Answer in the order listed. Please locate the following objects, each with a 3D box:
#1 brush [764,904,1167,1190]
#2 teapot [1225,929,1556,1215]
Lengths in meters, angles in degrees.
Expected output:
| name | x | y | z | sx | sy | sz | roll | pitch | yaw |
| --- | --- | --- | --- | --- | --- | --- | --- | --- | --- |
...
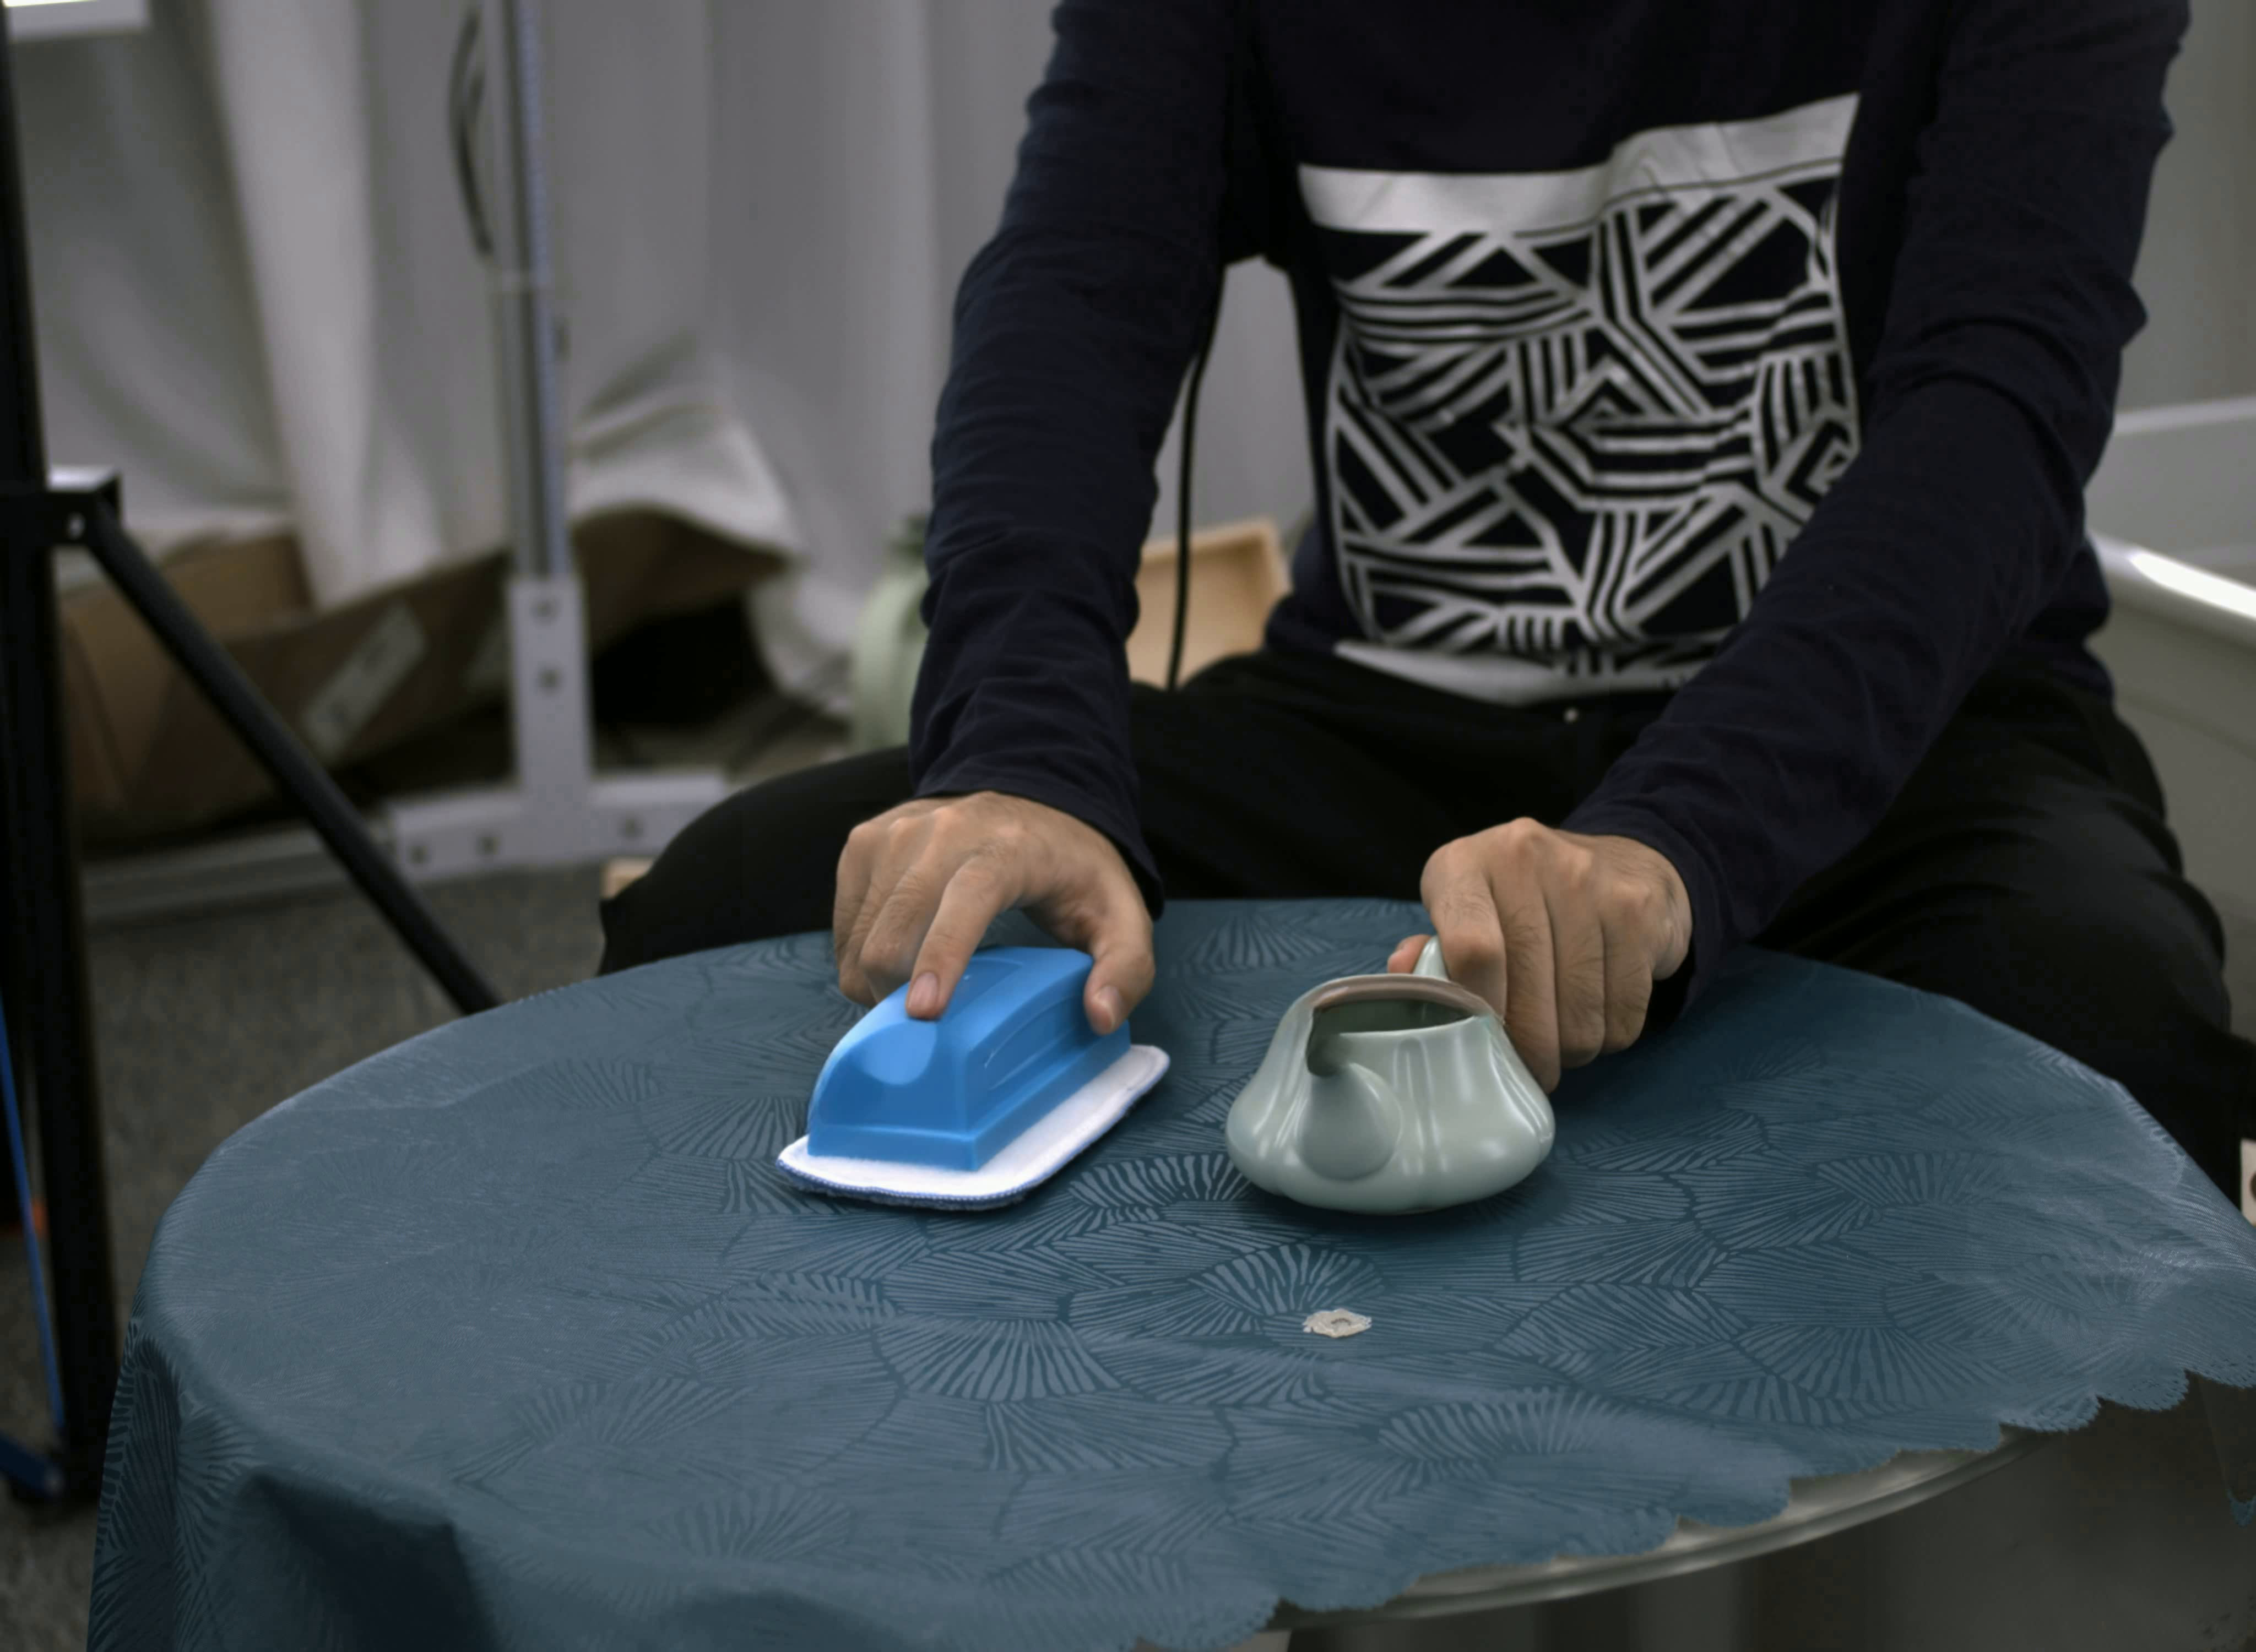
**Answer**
| name | x | y | z | sx | sy | sz | roll | pitch | yaw |
| --- | --- | --- | --- | --- | --- | --- | --- | --- | --- |
| brush | -0.047 | 0.063 | 1.615 | 0.085 | 0.056 | 0.142 | 9 | 21 | 23 |
| teapot | 0.078 | 0.076 | 1.553 | 0.097 | 0.061 | 0.135 | 1 | 17 | 20 |
